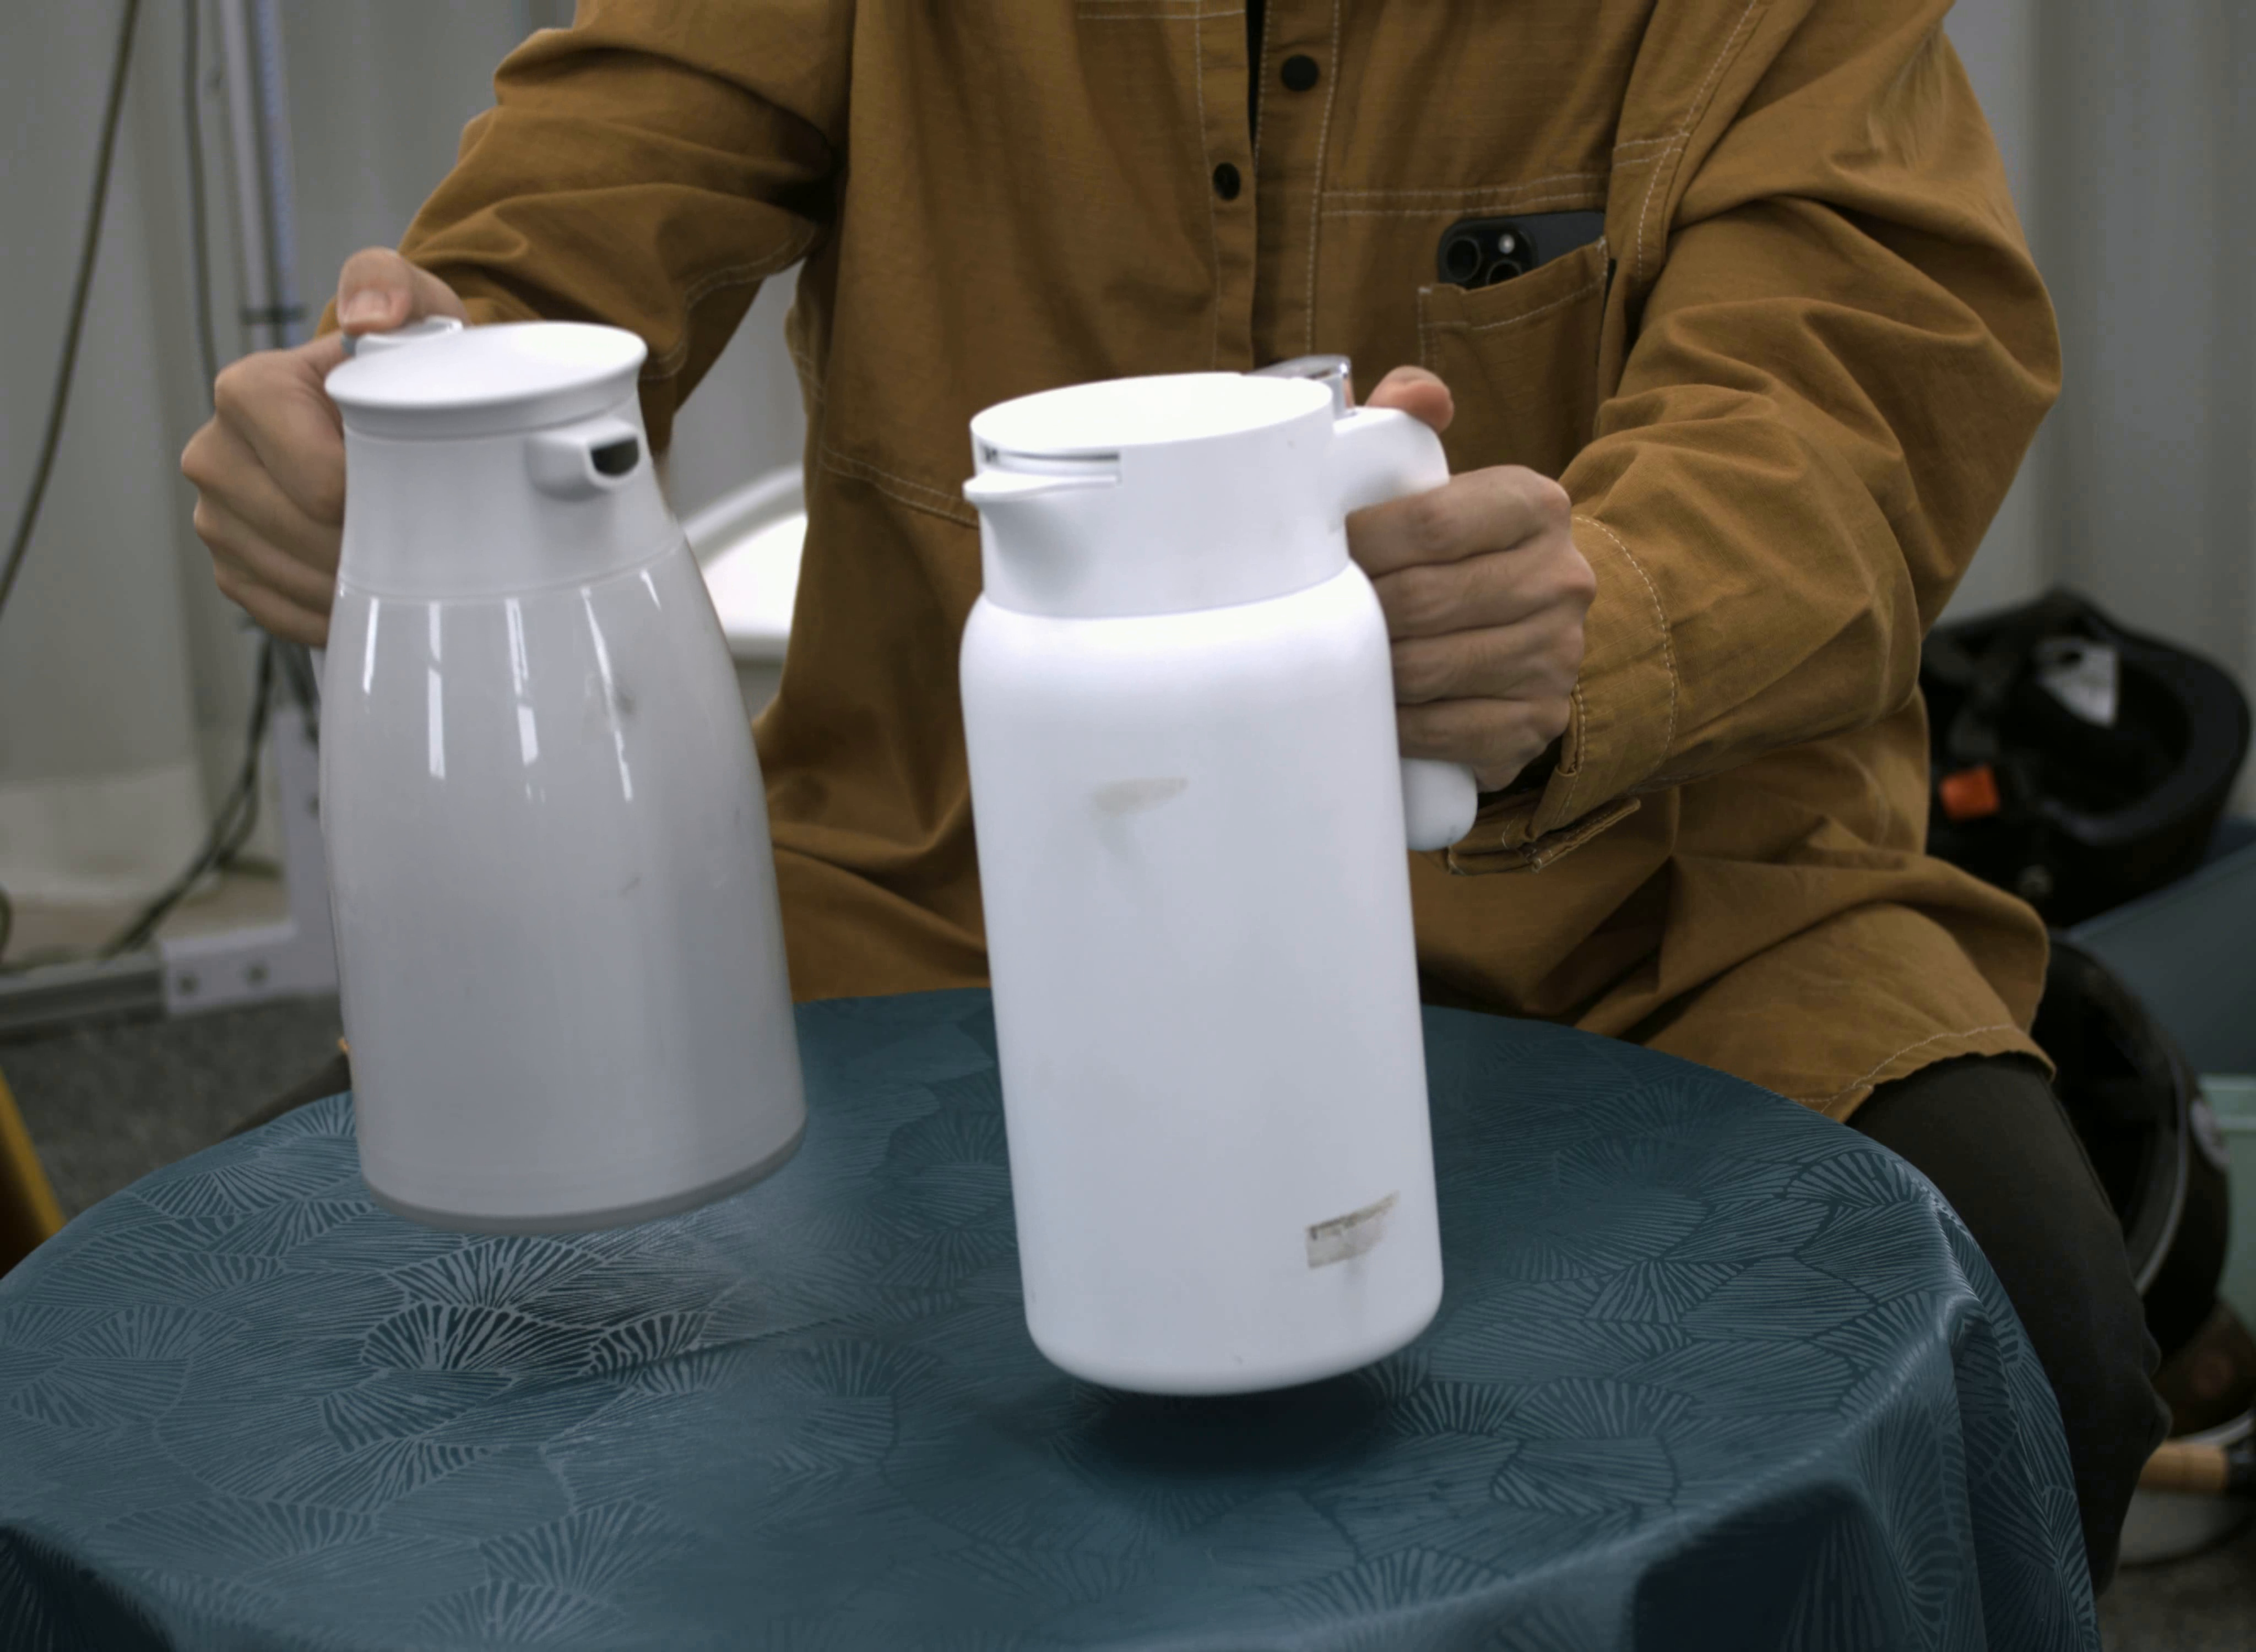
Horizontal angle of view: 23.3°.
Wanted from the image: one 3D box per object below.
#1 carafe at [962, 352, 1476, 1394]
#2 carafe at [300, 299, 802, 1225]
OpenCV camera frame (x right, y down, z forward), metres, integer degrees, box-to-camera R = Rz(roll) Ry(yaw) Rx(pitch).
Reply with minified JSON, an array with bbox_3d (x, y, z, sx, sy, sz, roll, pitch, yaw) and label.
[{"bbox_3d":[0.030,0.008,1.506,0.124,0.268,0.172,4,16,44],"label":"carafe"},{"bbox_3d":[-0.184,-0.027,1.590,0.132,0.247,0.169,-18,20,-37],"label":"carafe"}]
